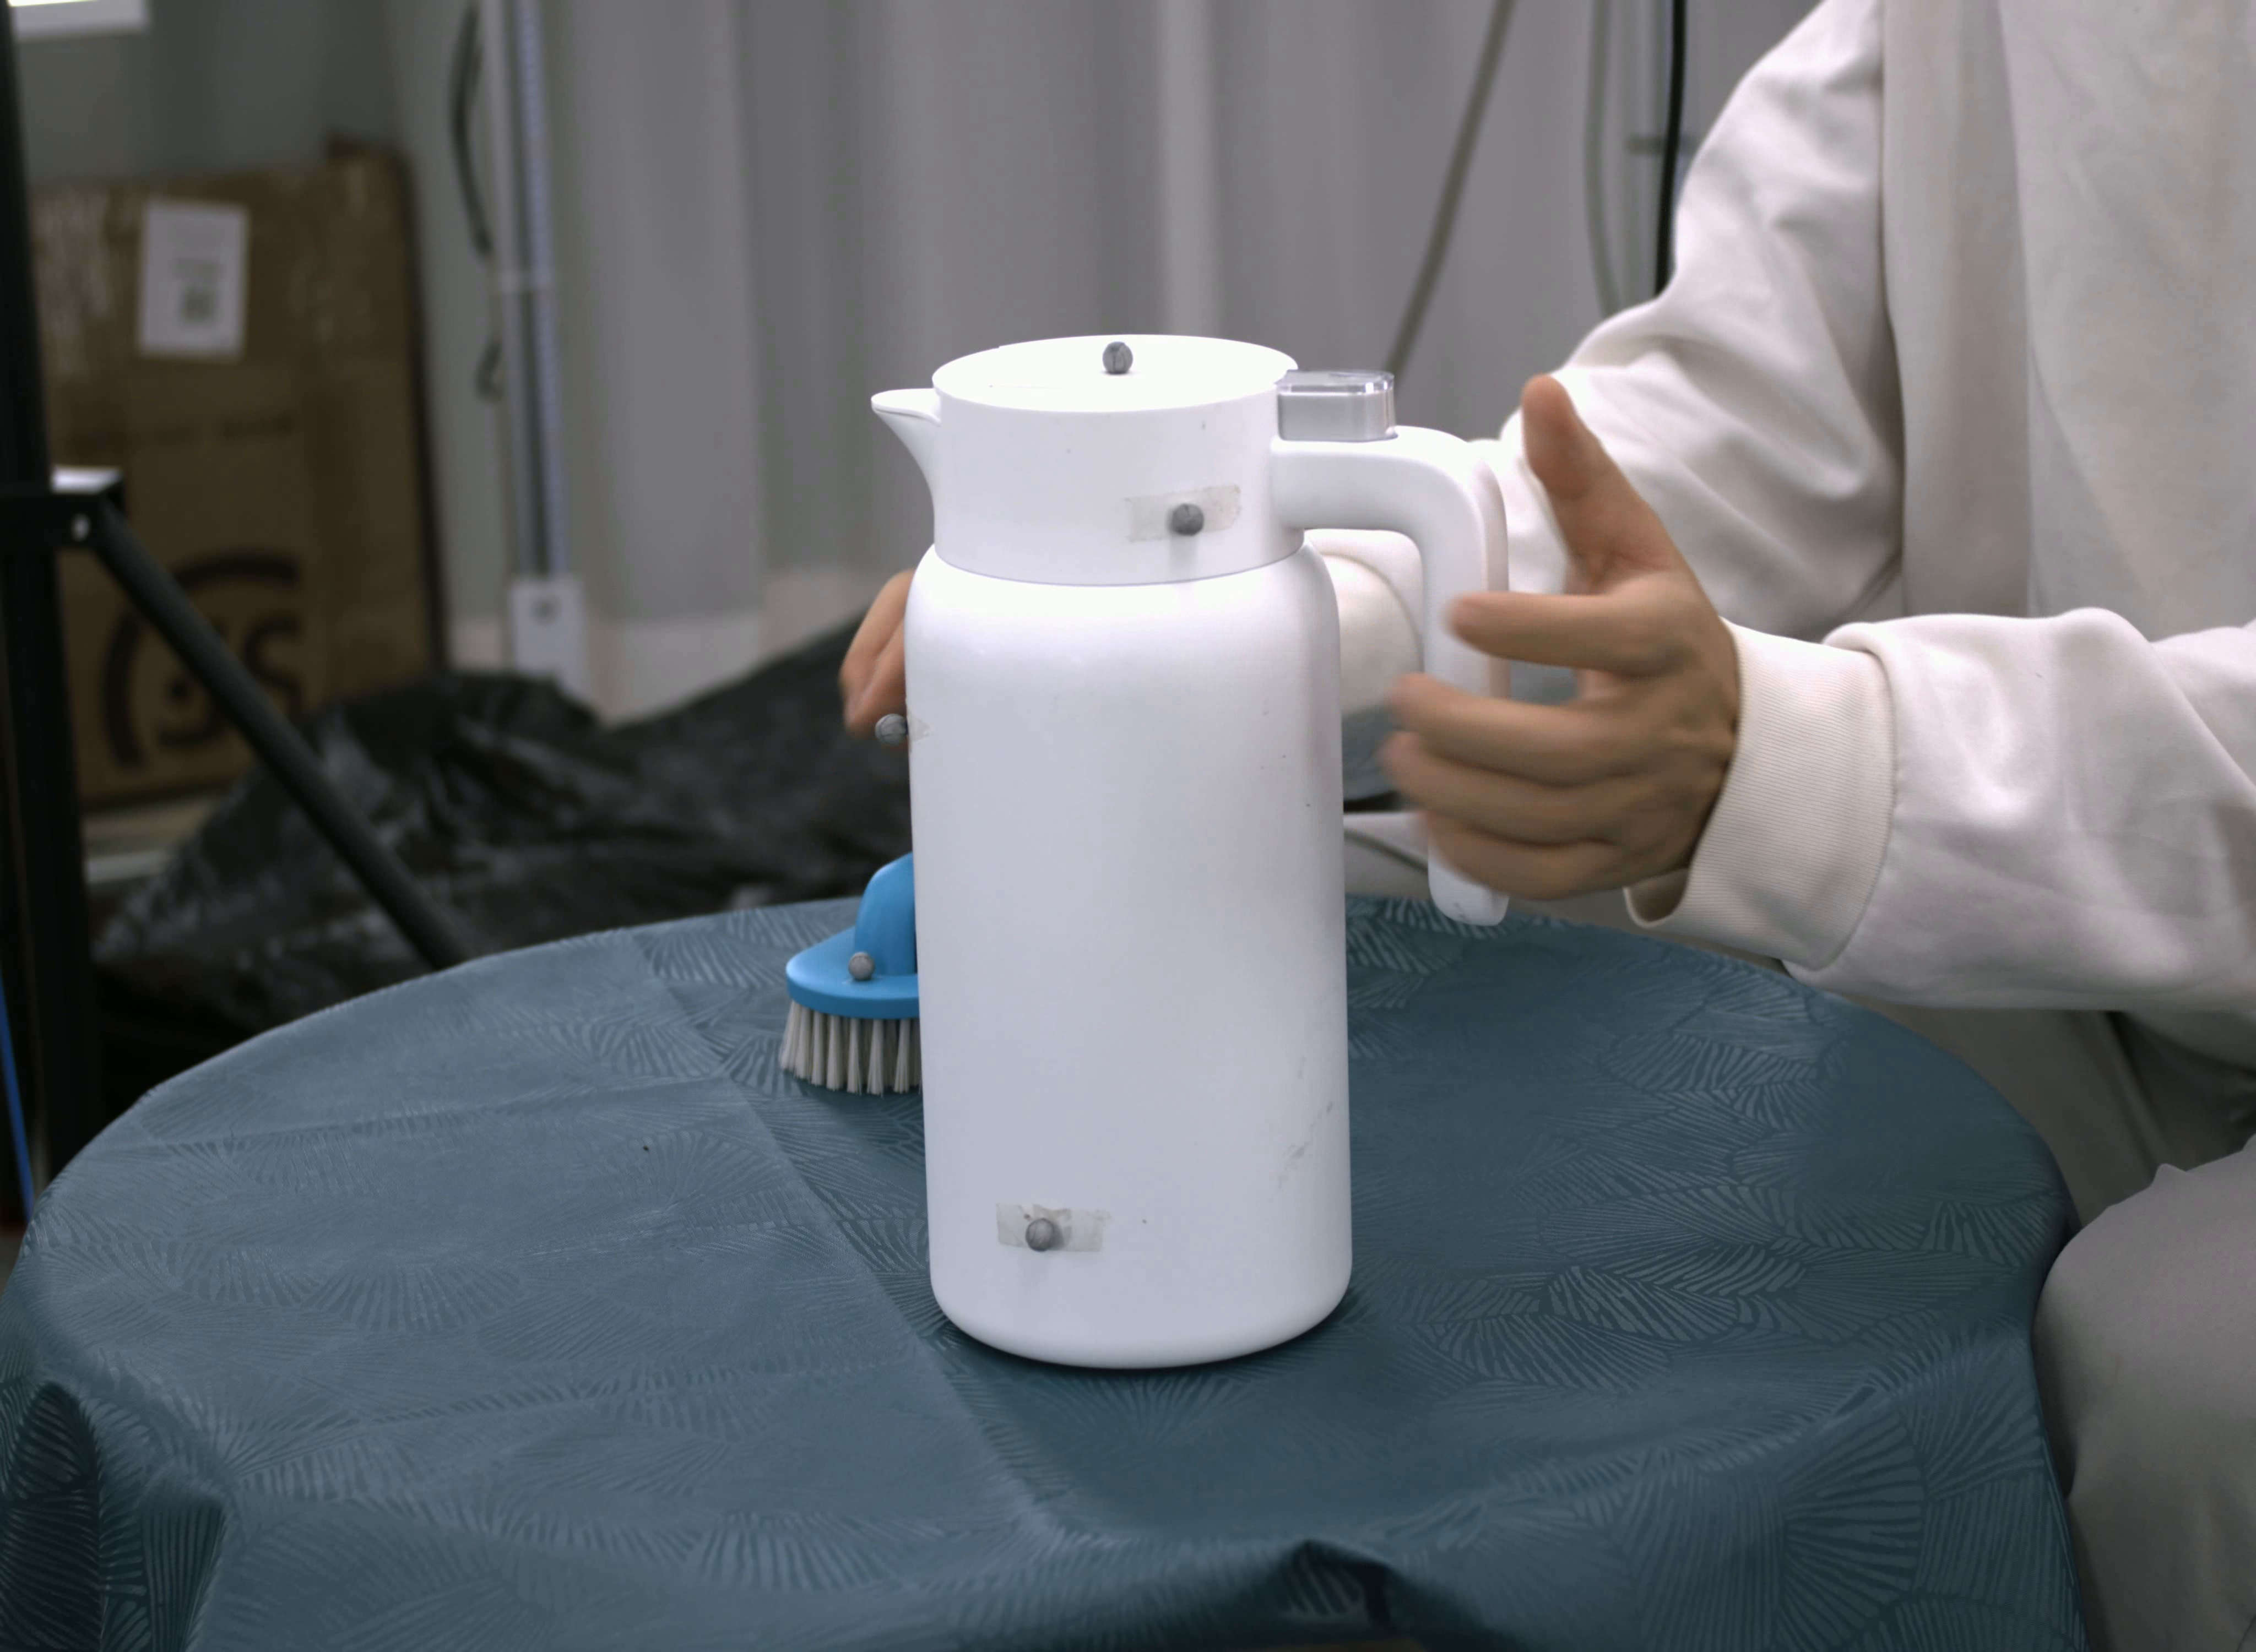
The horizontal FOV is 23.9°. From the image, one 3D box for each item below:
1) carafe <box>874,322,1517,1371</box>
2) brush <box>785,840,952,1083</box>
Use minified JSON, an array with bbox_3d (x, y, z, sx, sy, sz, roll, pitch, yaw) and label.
[{"bbox_3d":[0.019,0.006,1.432,0.174,0.269,0.122,3,14,16],"label":"carafe"},{"bbox_3d":[-0.055,0.034,1.709,0.086,0.064,0.139,1,15,32],"label":"brush"}]
